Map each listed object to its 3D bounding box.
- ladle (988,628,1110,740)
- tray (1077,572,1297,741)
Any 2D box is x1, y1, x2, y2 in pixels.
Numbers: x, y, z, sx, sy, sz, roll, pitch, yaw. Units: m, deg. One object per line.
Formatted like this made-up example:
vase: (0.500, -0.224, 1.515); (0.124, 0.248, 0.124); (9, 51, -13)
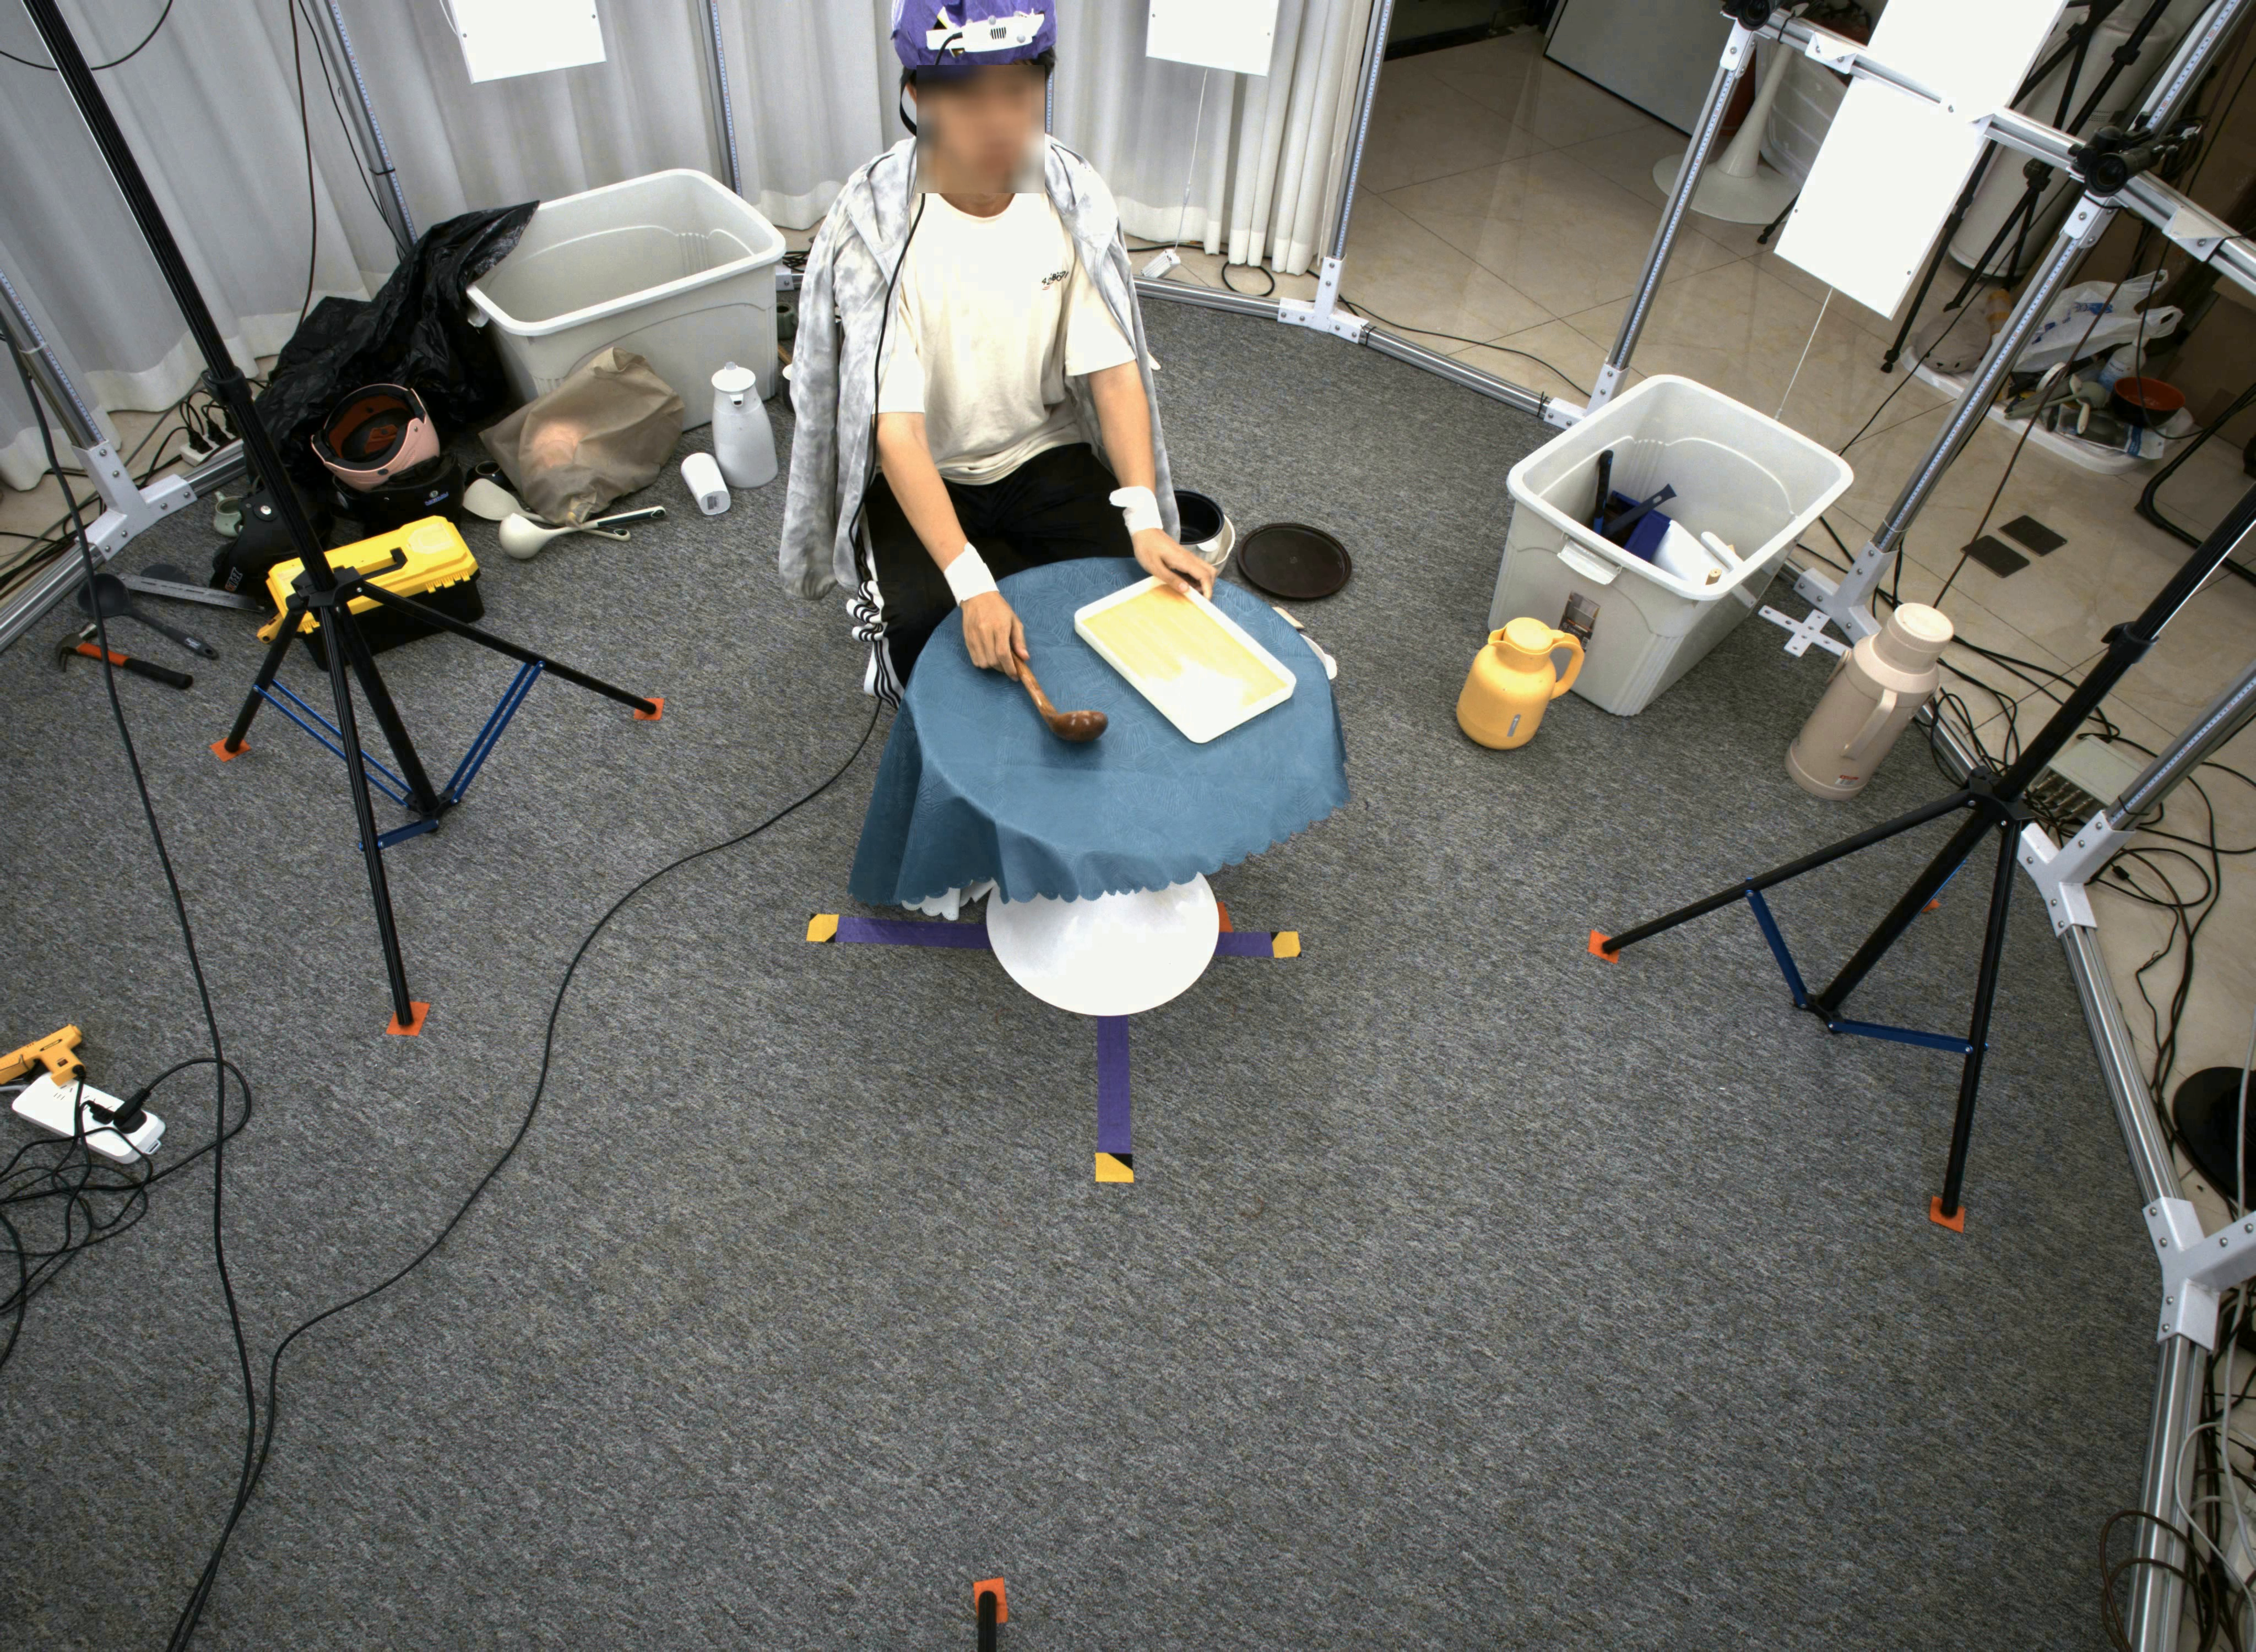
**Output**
ladle: (-0.116, -0.214, 1.789); (0.081, 0.076, 0.280); (19, 30, -49)
tray: (0.082, -0.252, 1.868); (0.192, 0.027, 0.306); (-28, 56, -25)
